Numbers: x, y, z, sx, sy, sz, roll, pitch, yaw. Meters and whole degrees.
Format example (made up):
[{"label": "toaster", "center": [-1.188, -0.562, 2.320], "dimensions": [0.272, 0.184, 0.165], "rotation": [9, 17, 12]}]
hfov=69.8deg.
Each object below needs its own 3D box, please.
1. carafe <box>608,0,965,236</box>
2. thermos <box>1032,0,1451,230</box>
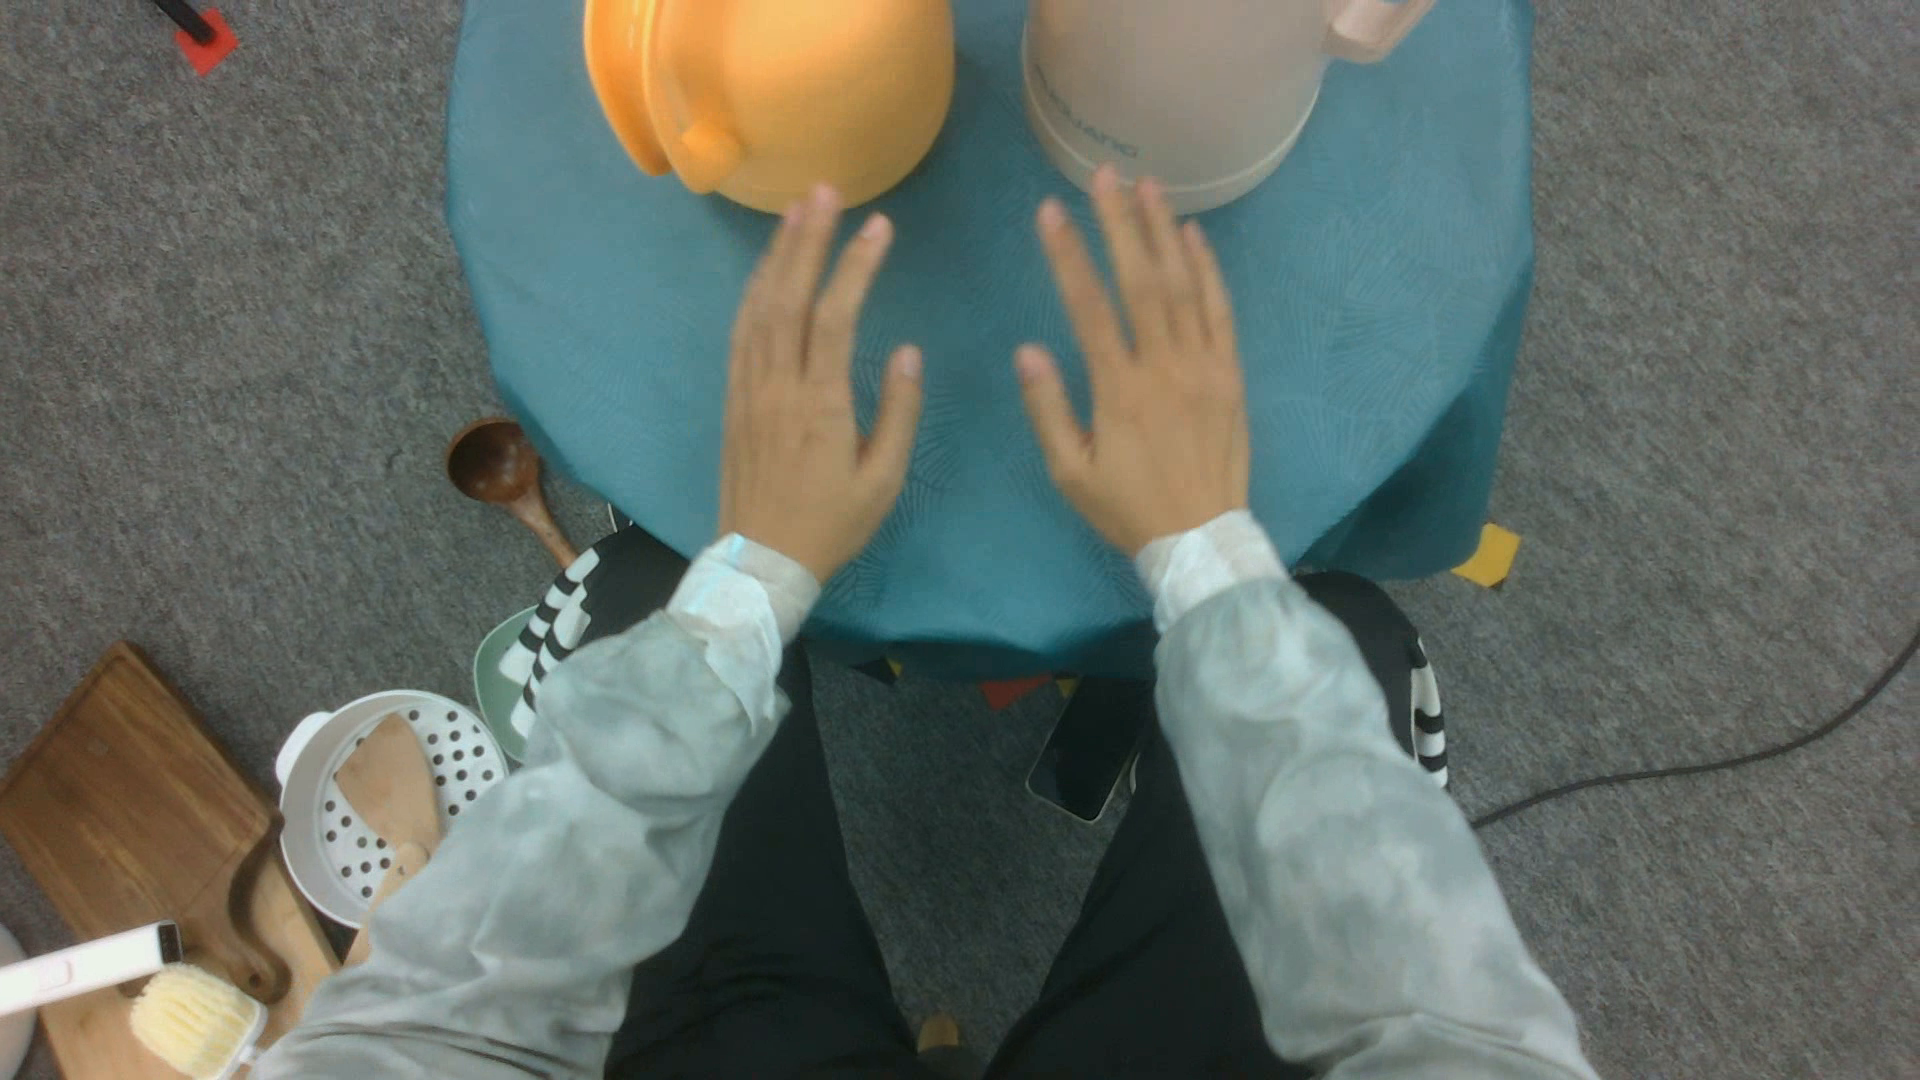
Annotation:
[{"label": "carafe", "center": [-0.091, -0.248, 0.653], "dimensions": [0.163, 0.260, 0.203], "rotation": [23, 79, 9]}, {"label": "thermos", "center": [0.122, -0.278, 0.584], "dimensions": [0.207, 0.405, 0.175], "rotation": [36, 81, 9]}]
